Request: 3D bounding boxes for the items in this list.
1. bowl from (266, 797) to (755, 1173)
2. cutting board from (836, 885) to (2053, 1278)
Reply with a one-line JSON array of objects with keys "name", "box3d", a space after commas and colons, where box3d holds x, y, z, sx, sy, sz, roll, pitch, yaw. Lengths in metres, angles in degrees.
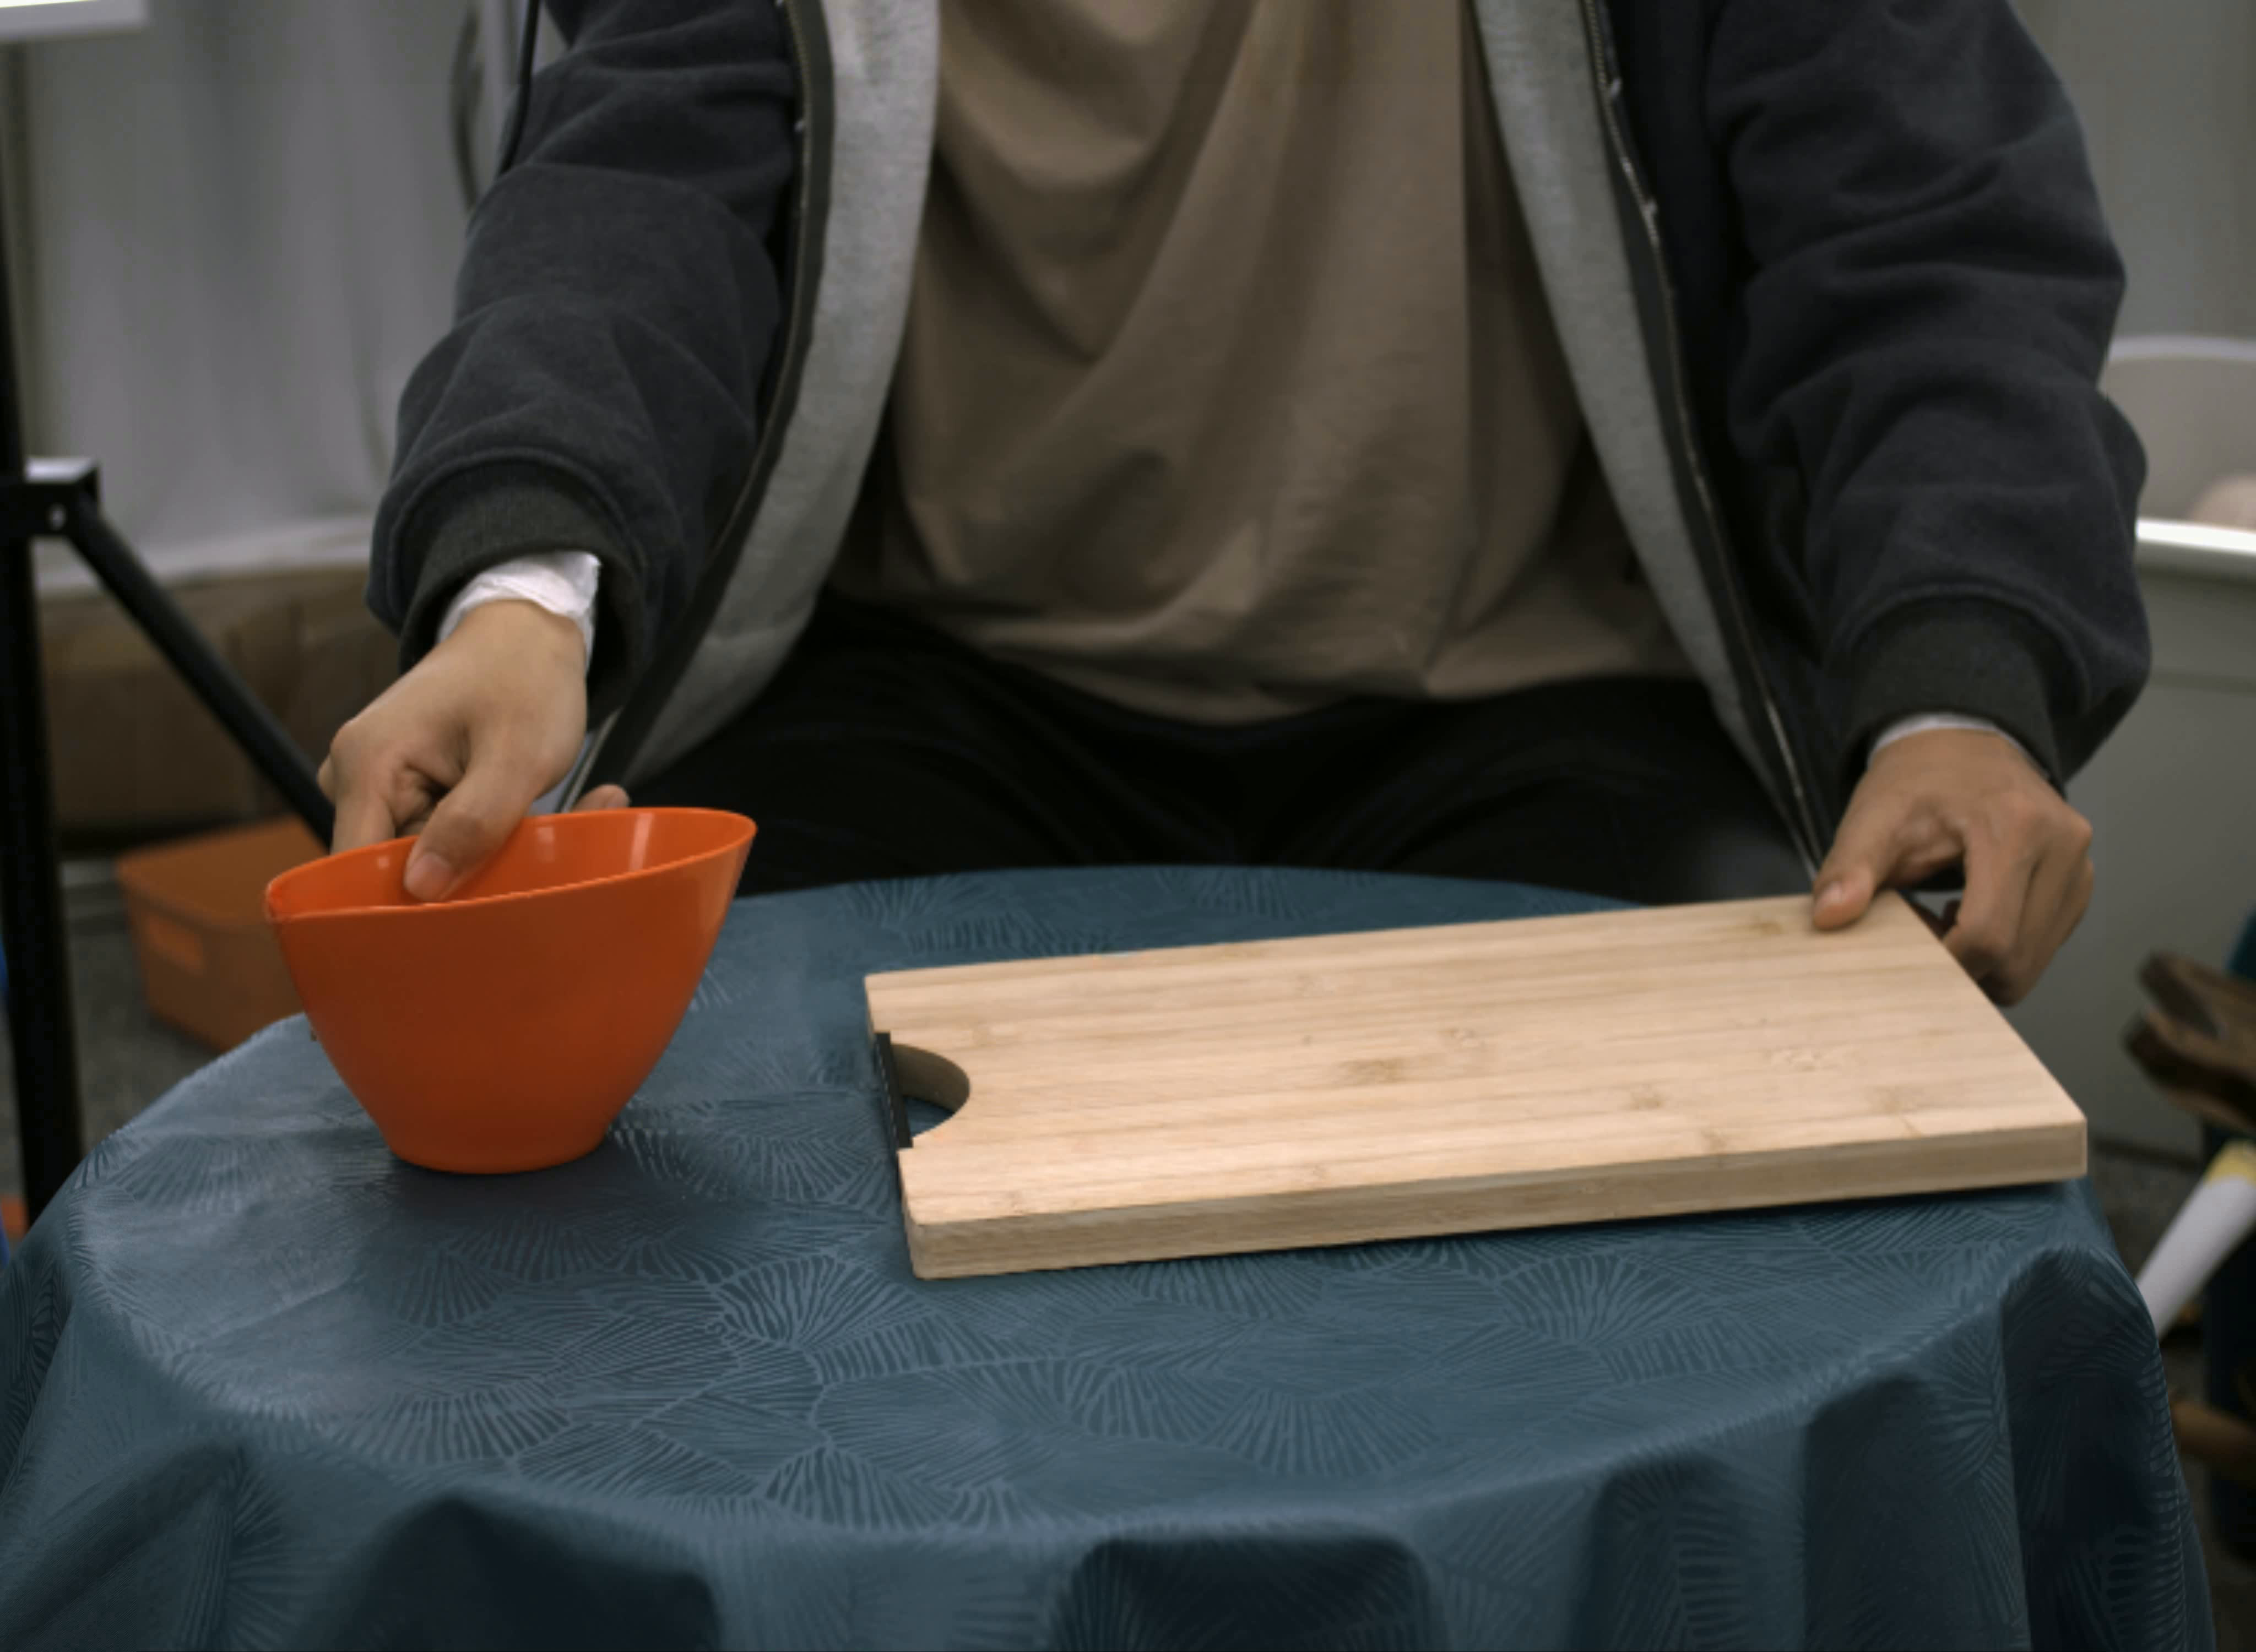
[{"name": "bowl", "box3d": [-0.185, 0.048, 1.612, 0.147, 0.104, 0.149, -1, 18, -1]}, {"name": "cutting board", "box3d": [0.089, 0.075, 1.618, 0.346, 0.023, 0.253, -5, 15, -4]}]
